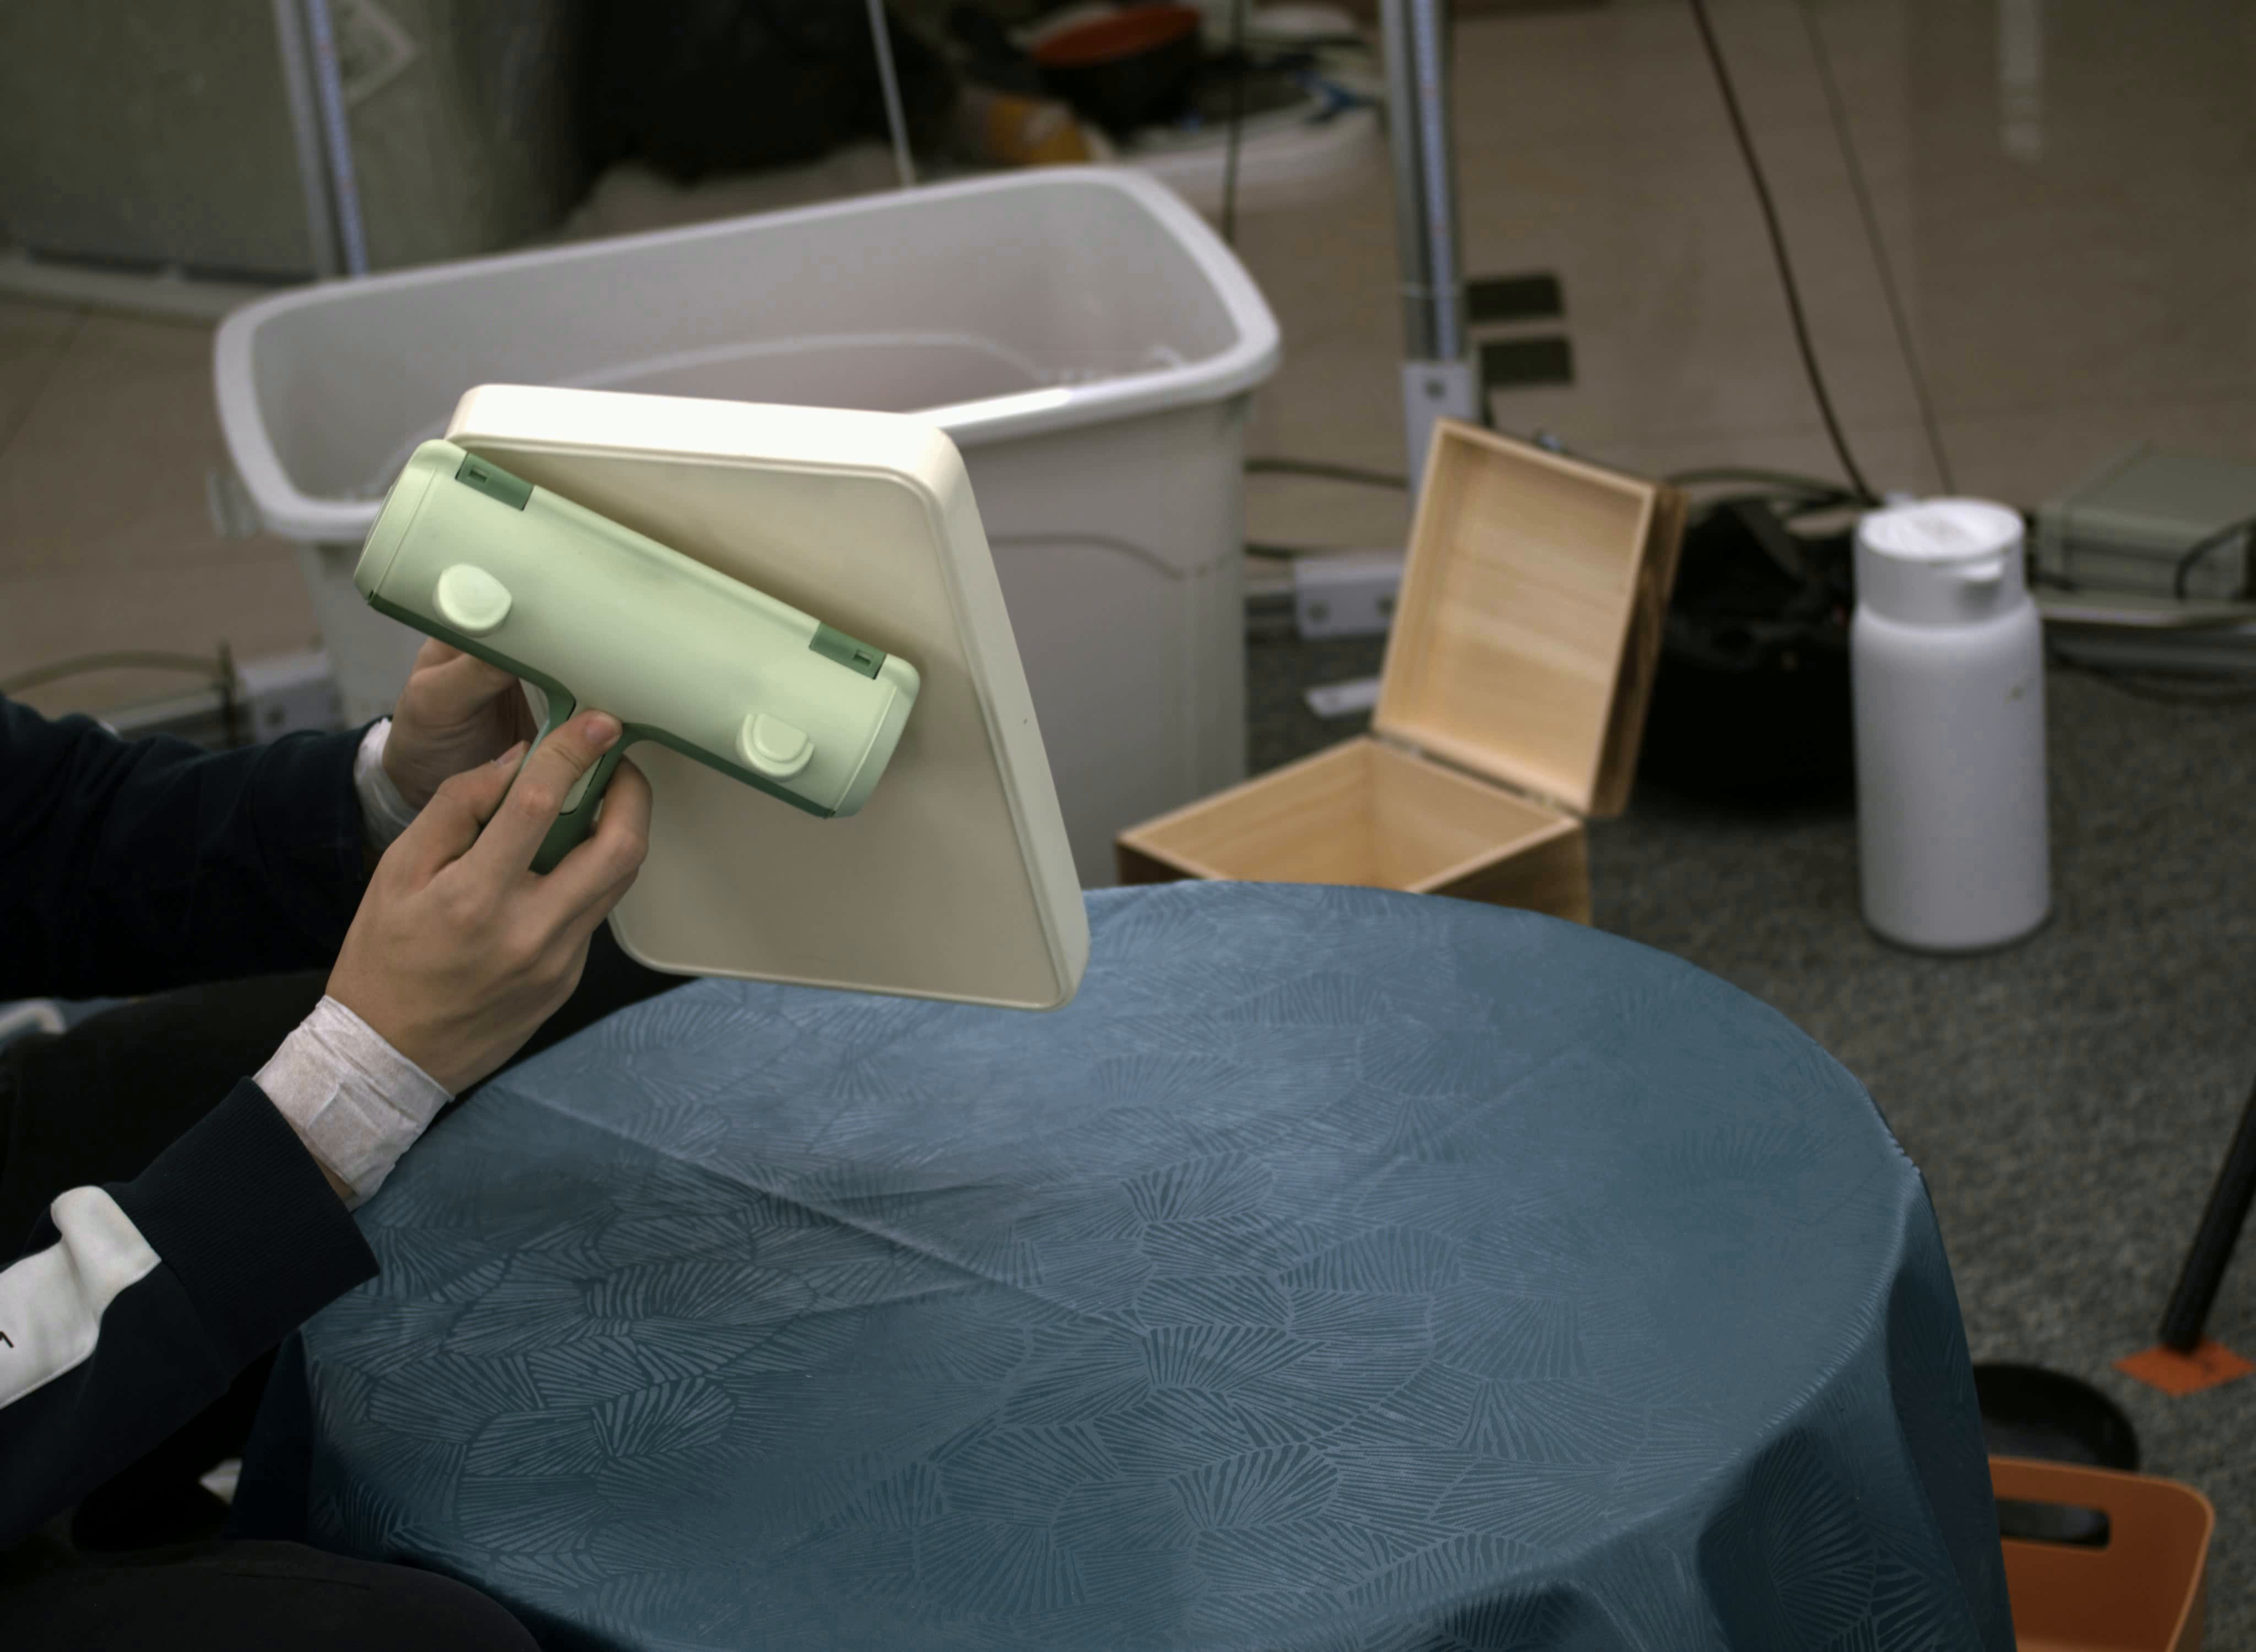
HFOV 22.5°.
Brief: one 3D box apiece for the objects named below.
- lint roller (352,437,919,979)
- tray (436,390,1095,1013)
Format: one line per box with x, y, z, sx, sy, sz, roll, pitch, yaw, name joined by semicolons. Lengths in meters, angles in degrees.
-0.198;-0.017;1.982;0.199;0.185;0.081;26;14;-10;lint roller
-0.128;-0.041;2.056;0.191;0.306;0.027;5;52;17;tray
